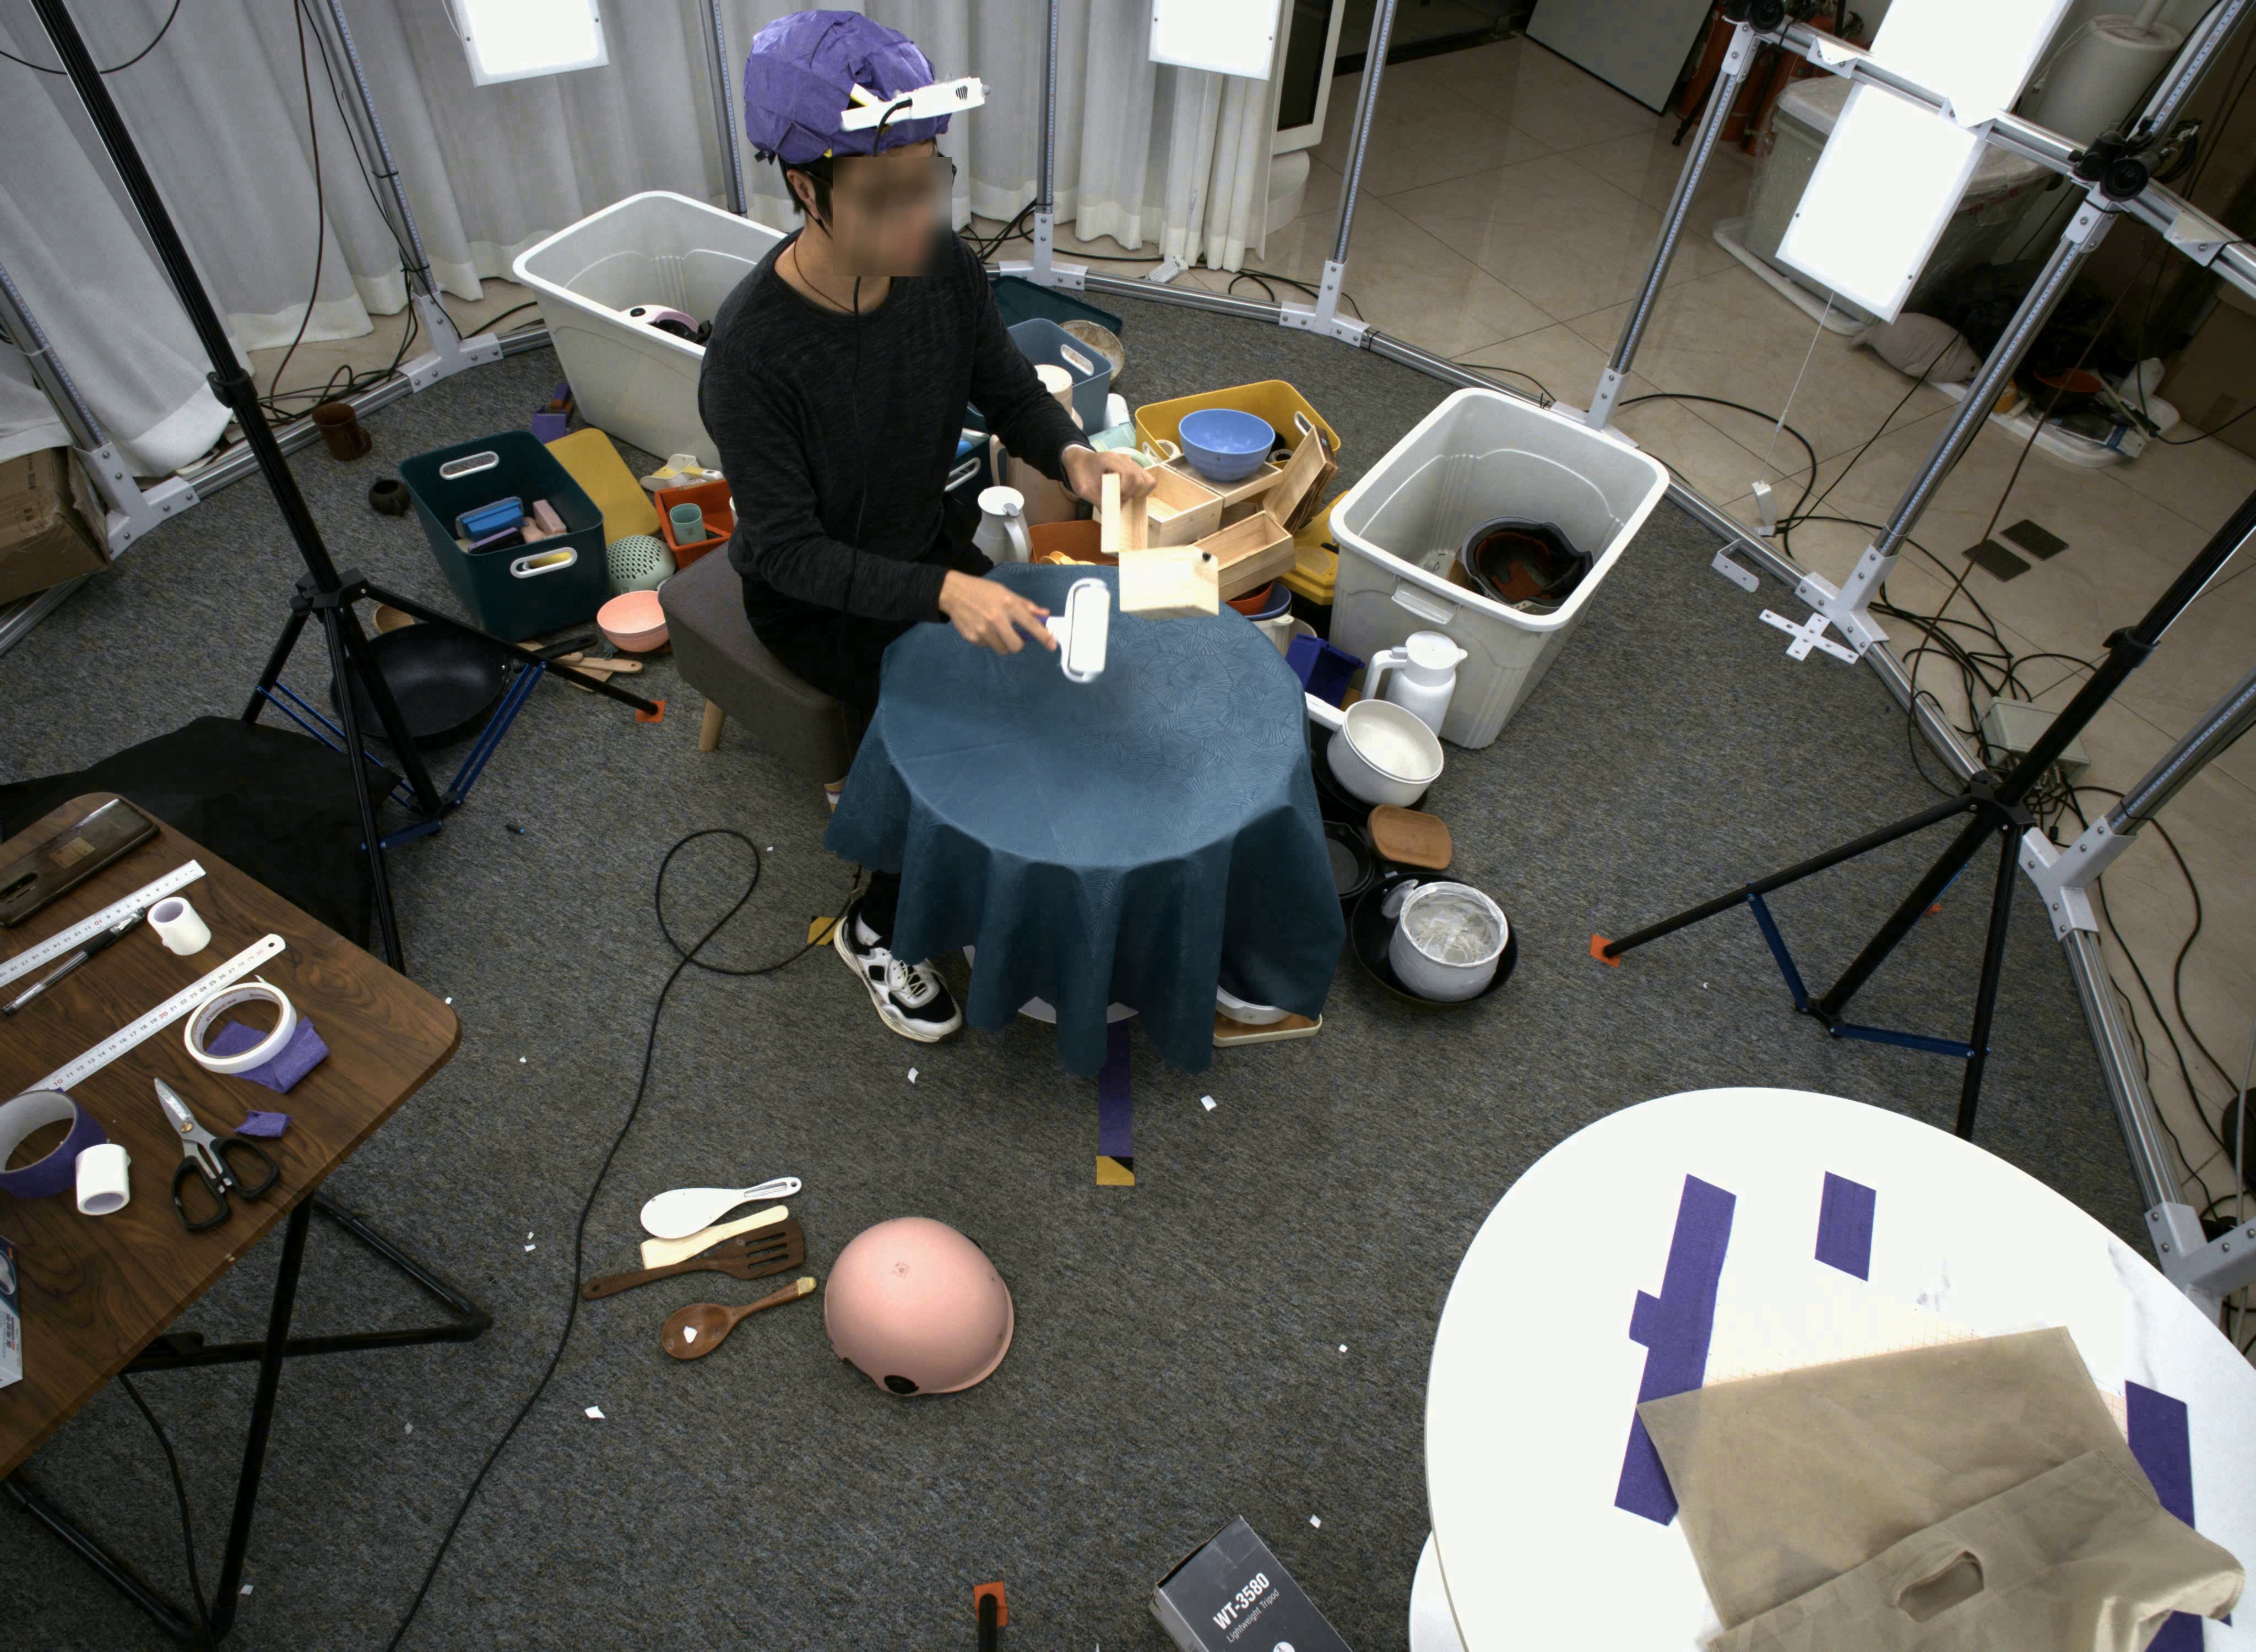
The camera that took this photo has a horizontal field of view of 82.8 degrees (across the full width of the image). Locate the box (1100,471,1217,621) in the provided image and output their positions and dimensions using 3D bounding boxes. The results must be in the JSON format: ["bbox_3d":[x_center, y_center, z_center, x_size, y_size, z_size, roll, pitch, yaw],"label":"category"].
[{"bbox_3d":[0.043,-0.370,1.685,0.134,0.102,0.185,-2,87,22],"label":"box"}]

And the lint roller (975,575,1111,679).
[{"bbox_3d":[-0.113,-0.265,1.672,0.181,0.132,0.050,6,3,5],"label":"lint roller"}]
